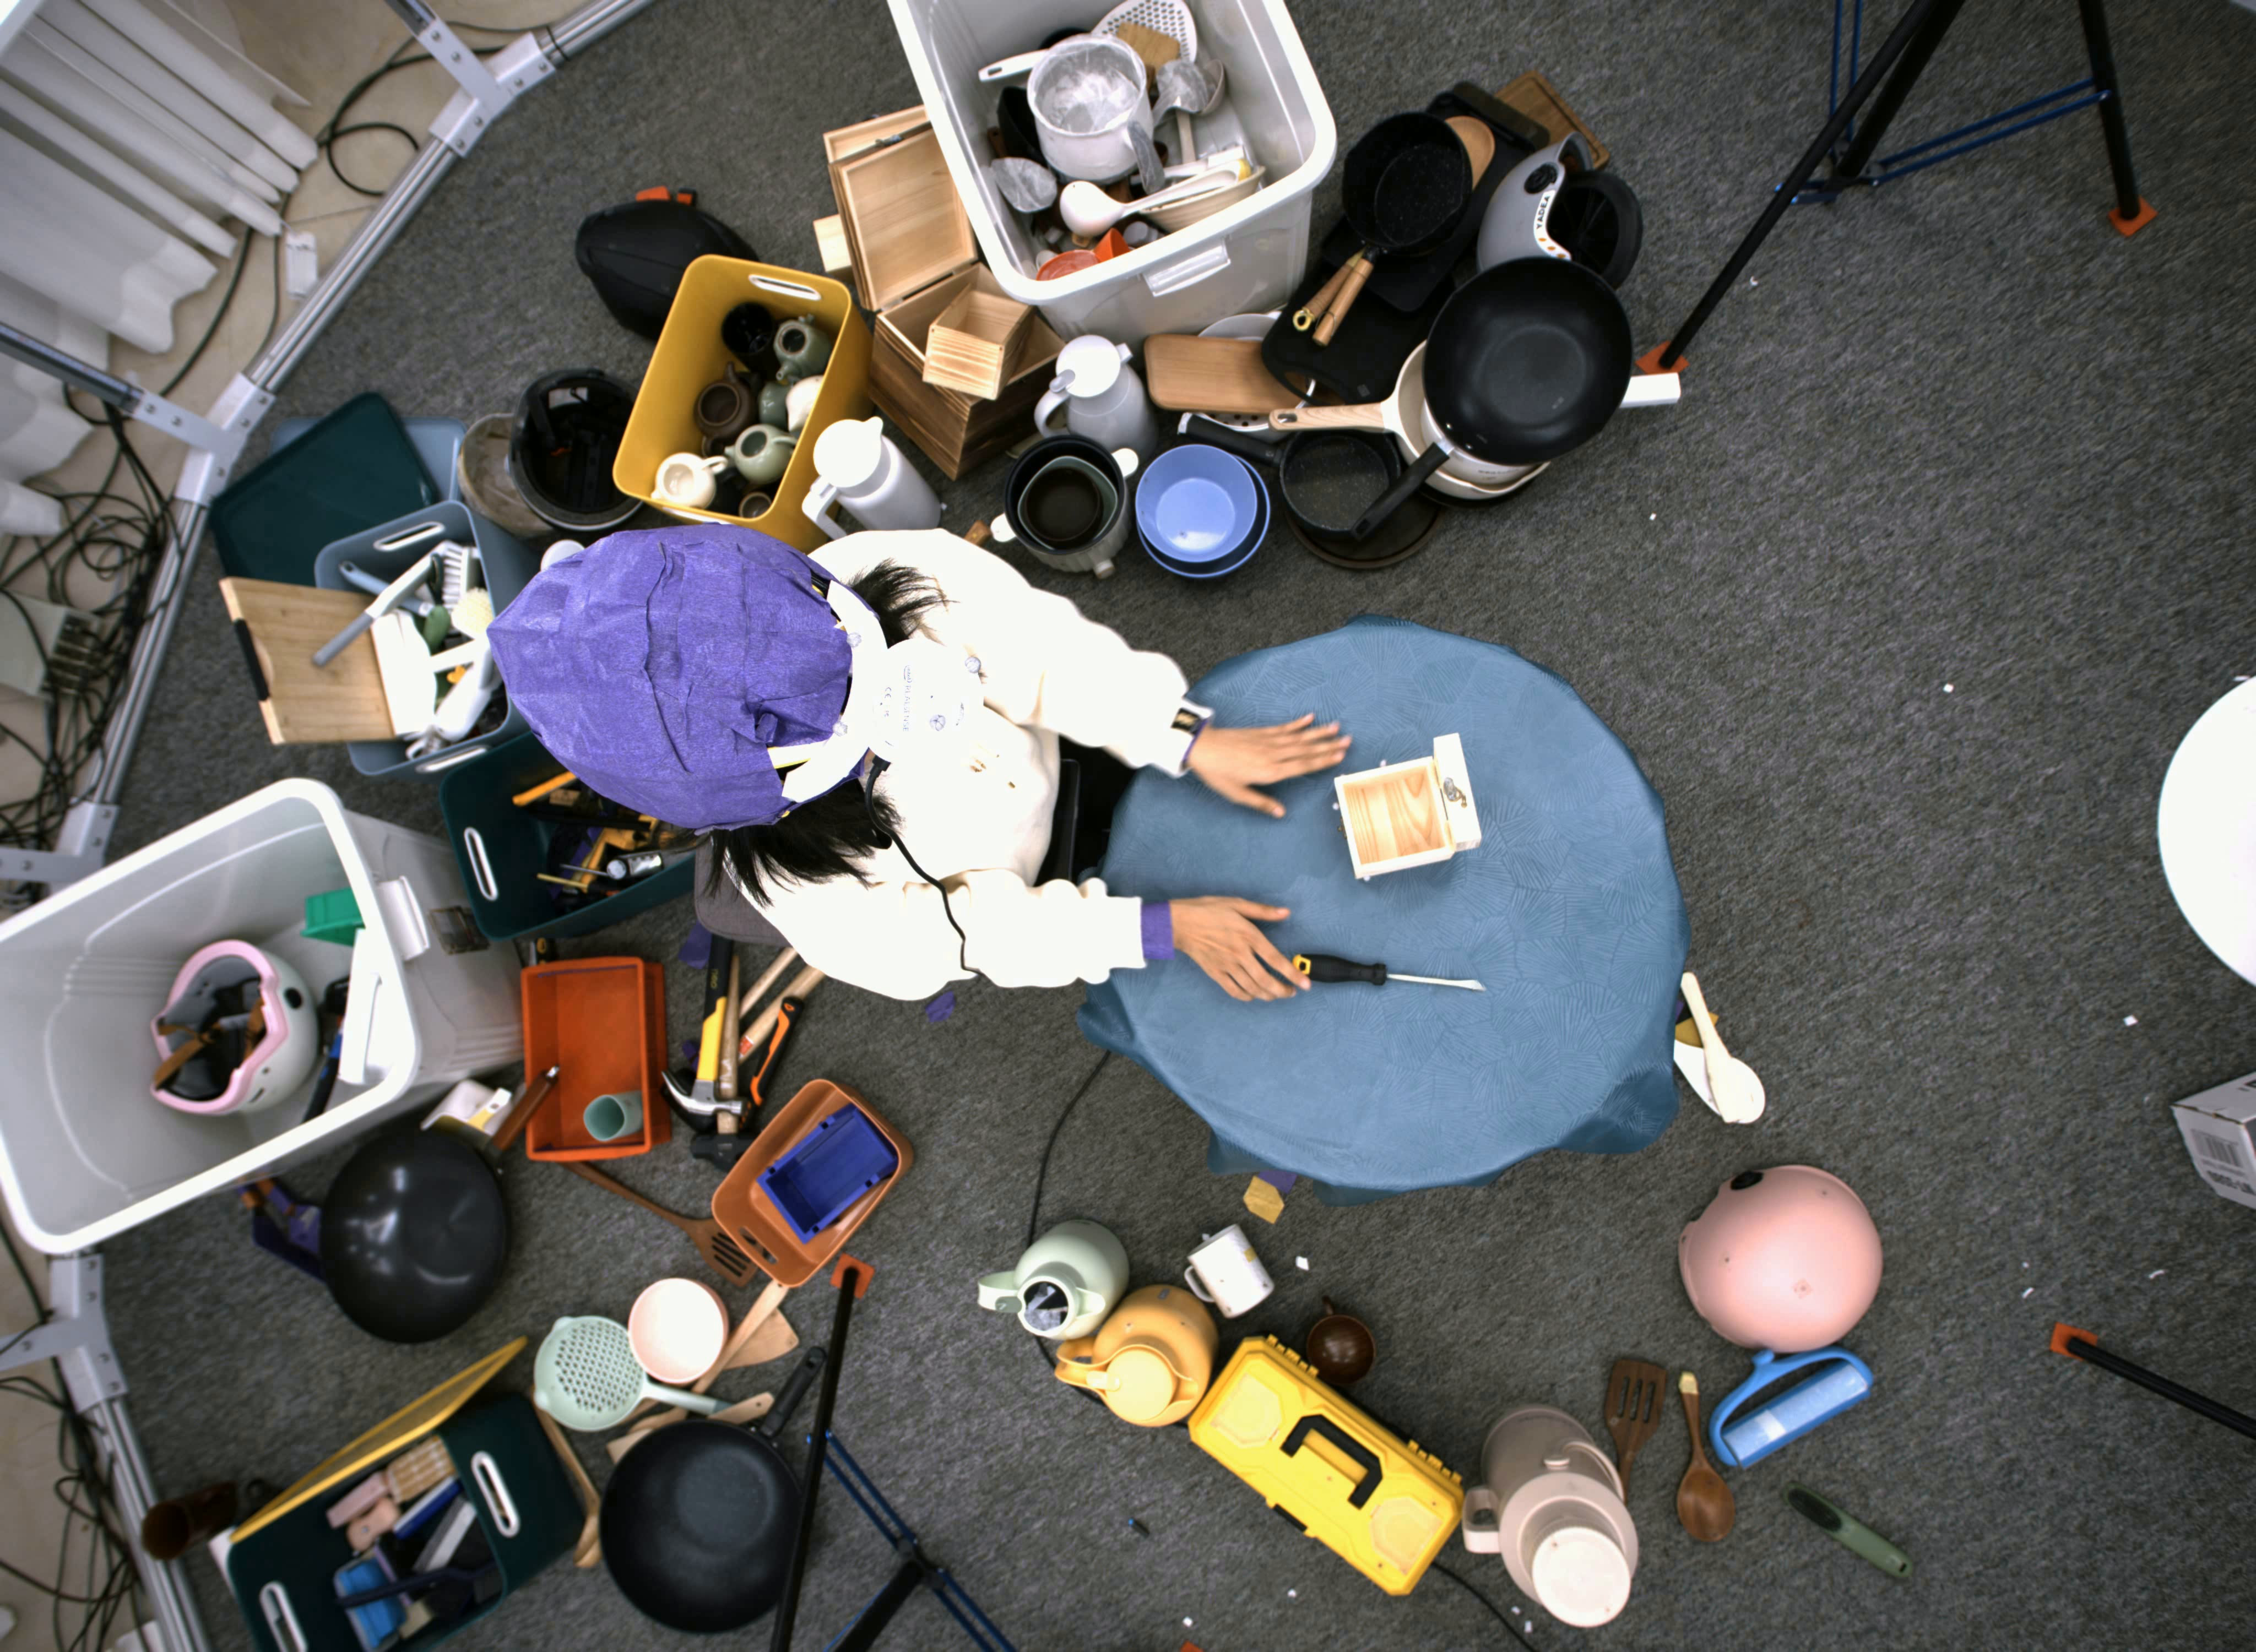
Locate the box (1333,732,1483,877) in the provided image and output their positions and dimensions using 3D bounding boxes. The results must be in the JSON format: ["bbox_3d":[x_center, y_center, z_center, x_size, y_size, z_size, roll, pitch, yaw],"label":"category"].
[{"bbox_3d":[0.273,-0.018,1.371,0.134,0.185,0.102,-14,82,8],"label":"box"}]

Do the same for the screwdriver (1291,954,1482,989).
[{"bbox_3d":[0.269,0.158,1.444,0.198,0.031,0.031,8,86,8],"label":"screwdriver"}]
